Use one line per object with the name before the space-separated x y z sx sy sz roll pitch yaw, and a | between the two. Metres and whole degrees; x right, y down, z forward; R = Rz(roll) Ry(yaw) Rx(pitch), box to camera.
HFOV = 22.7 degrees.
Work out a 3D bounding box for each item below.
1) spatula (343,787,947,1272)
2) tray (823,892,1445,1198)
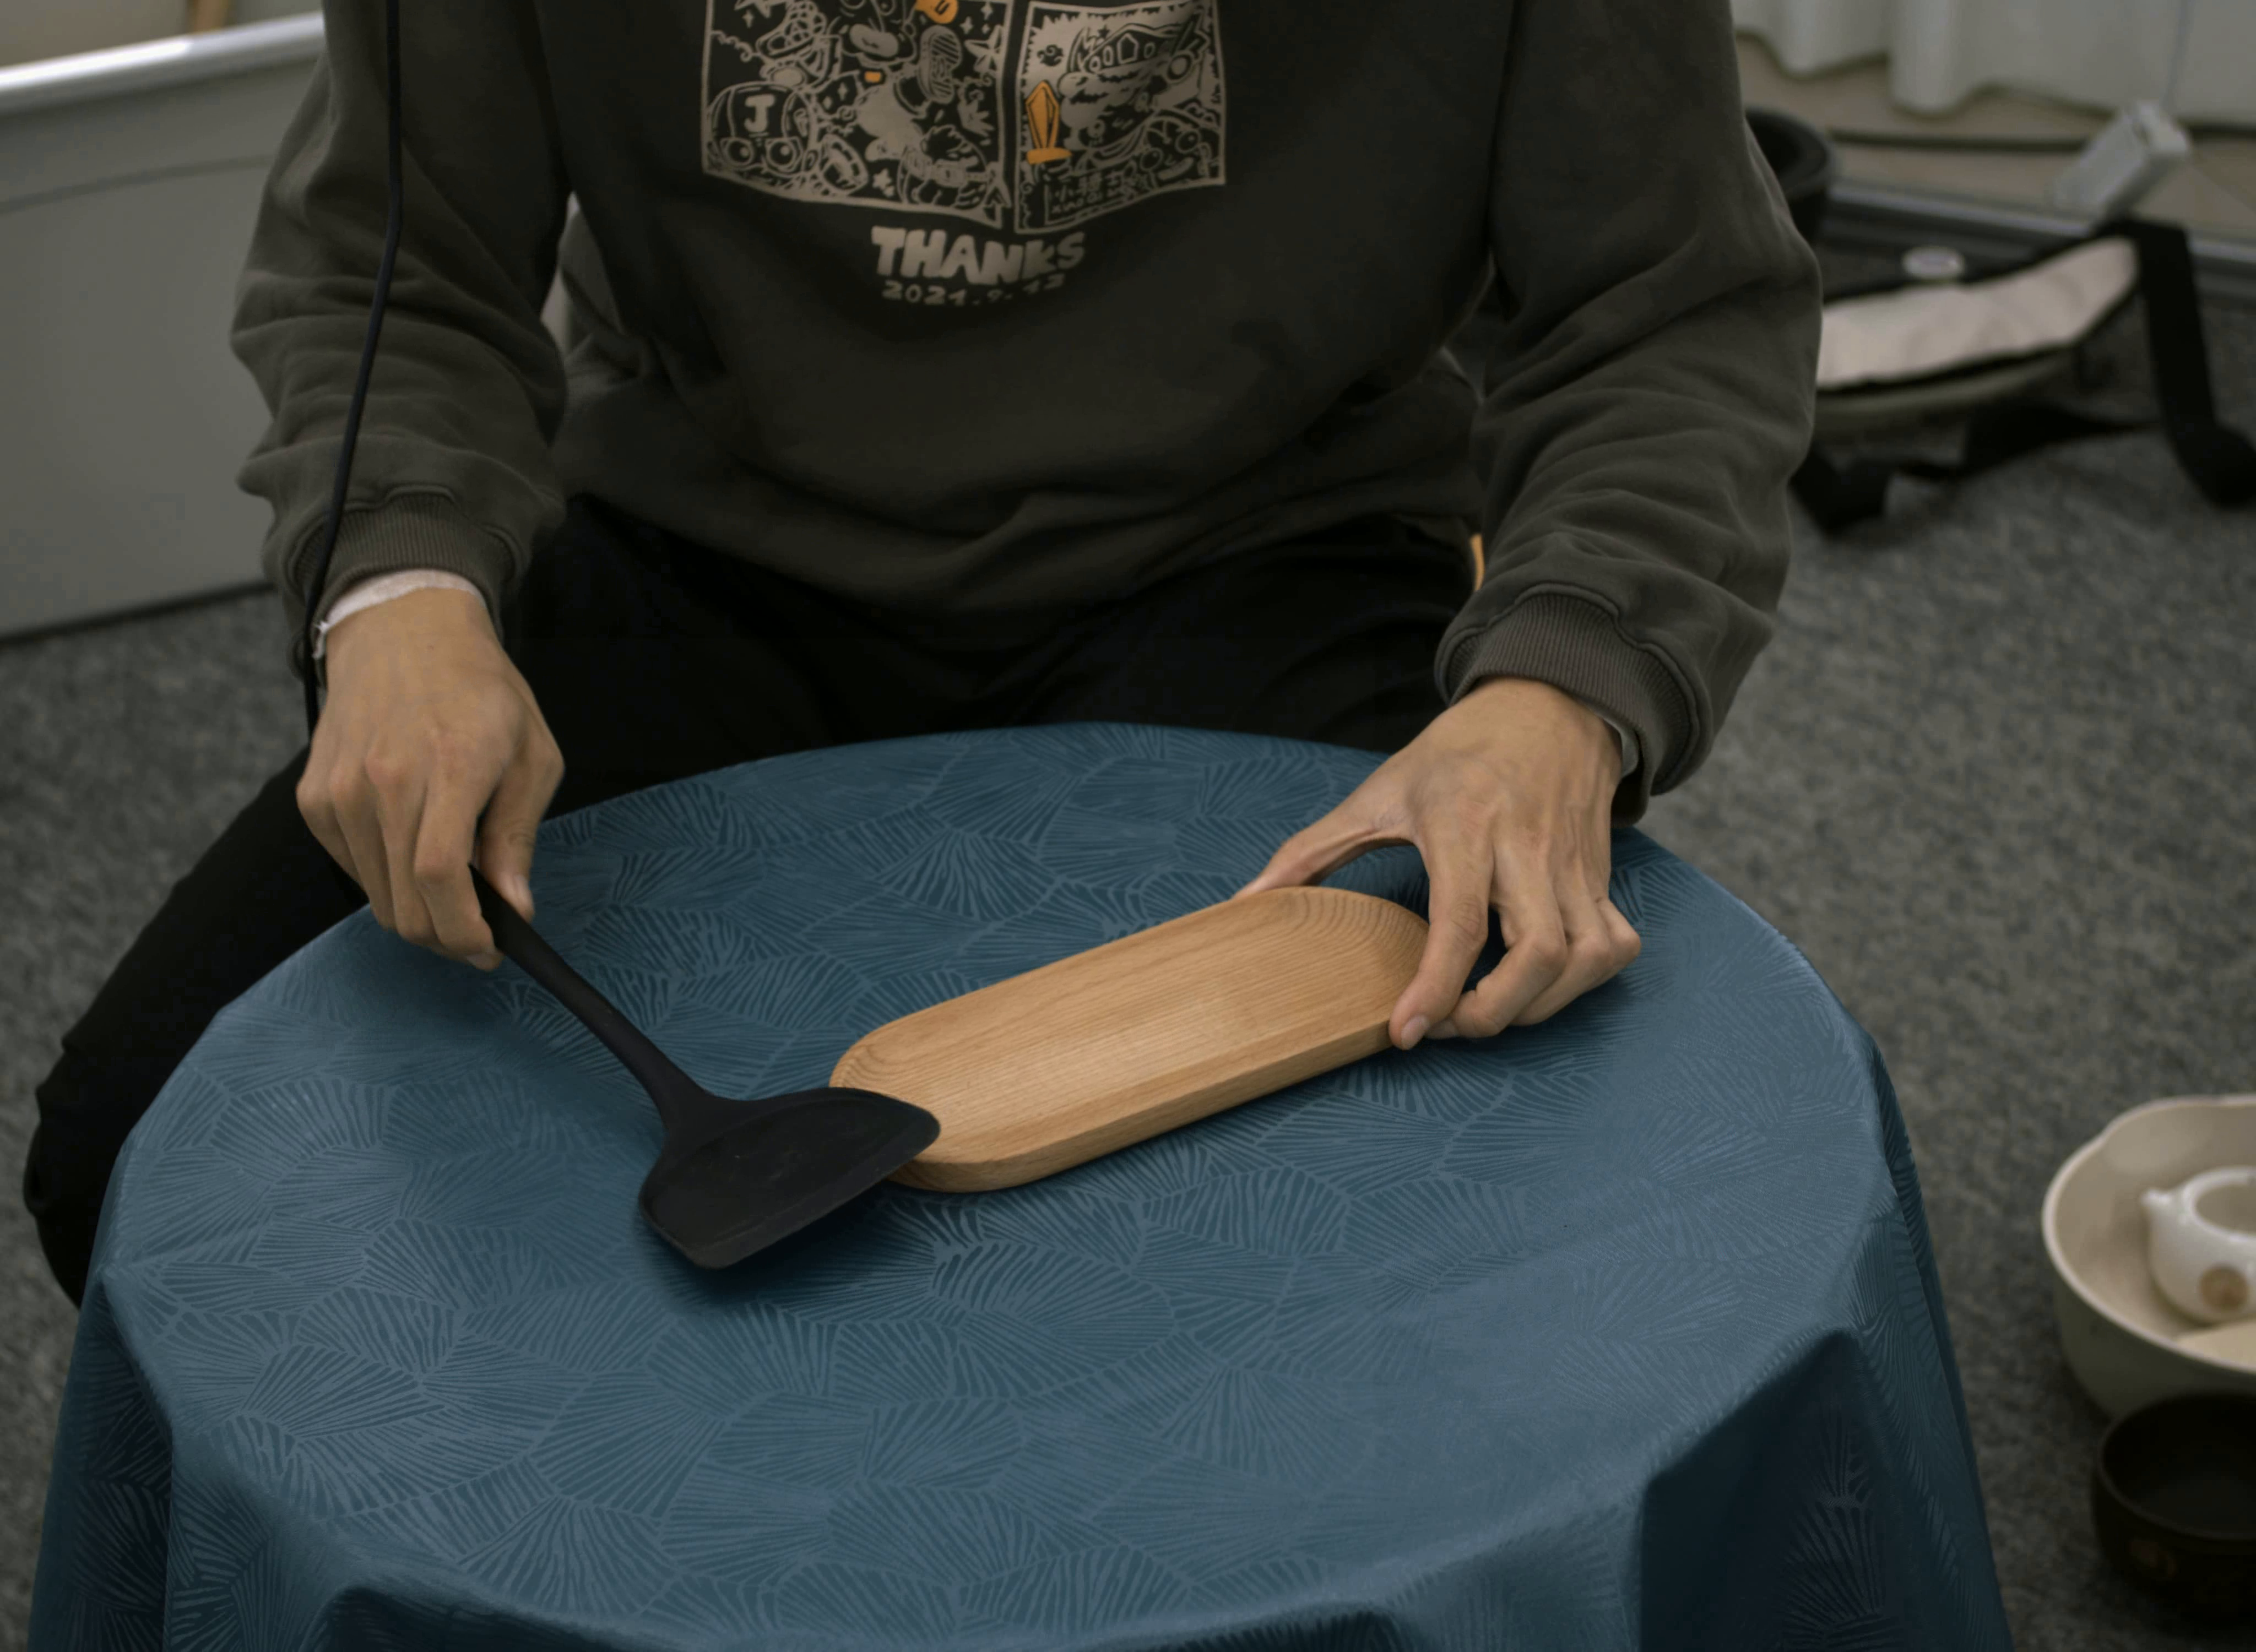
spatula | -0.186 0.058 1.931 0.100 0.040 0.328 -28 45 -24
tray | 0.004 0.075 1.928 0.233 0.020 0.102 -20 33 -25
